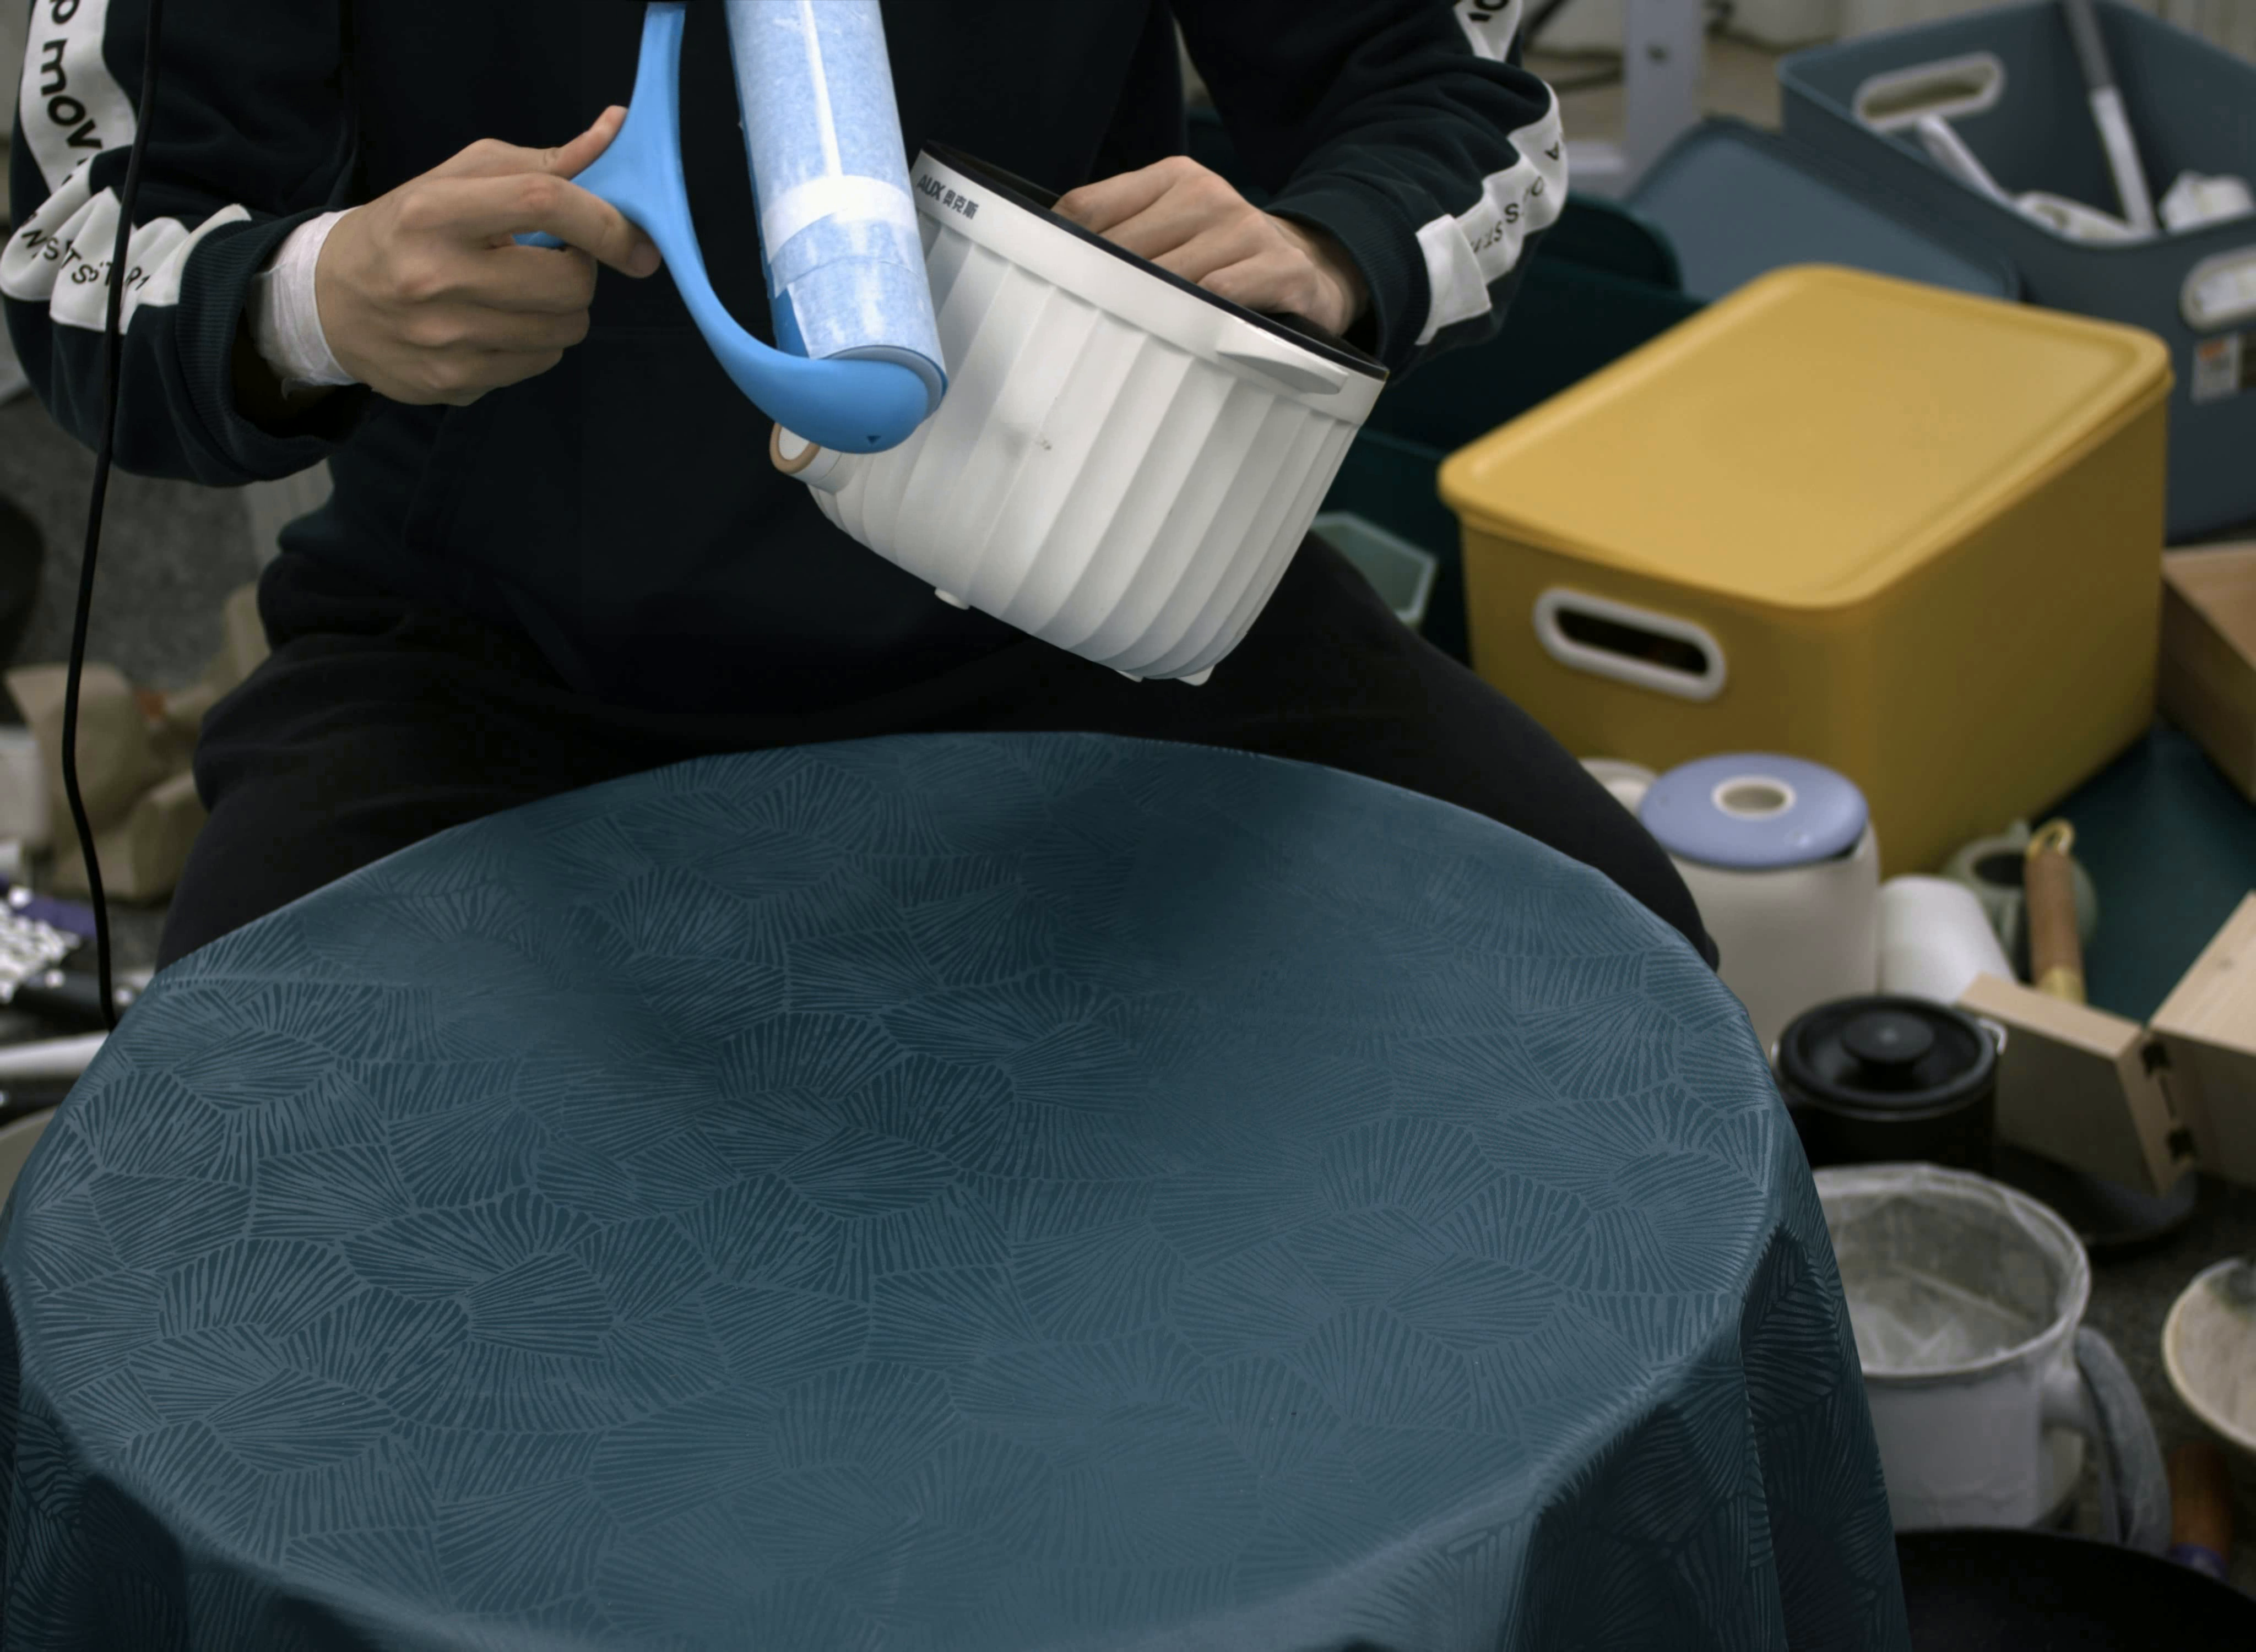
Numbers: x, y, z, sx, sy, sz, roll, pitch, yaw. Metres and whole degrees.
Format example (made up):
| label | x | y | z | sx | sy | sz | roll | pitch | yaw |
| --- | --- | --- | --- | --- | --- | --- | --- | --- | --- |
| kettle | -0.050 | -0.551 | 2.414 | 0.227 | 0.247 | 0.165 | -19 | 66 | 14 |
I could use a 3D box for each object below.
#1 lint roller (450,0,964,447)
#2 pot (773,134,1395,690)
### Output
| label | x | y | z | sx | sy | sz | roll | pitch | yaw |
| --- | --- | --- | --- | --- | --- | --- | --- | --- | --- |
| lint roller | -0.154 | -0.203 | 1.903 | 0.179 | 0.067 | 0.233 | -19 | 57 | 5 |
| pot | -0.022 | -0.140 | 1.960 | 0.190 | 0.143 | 0.241 | 27 | 4 | -37 |
